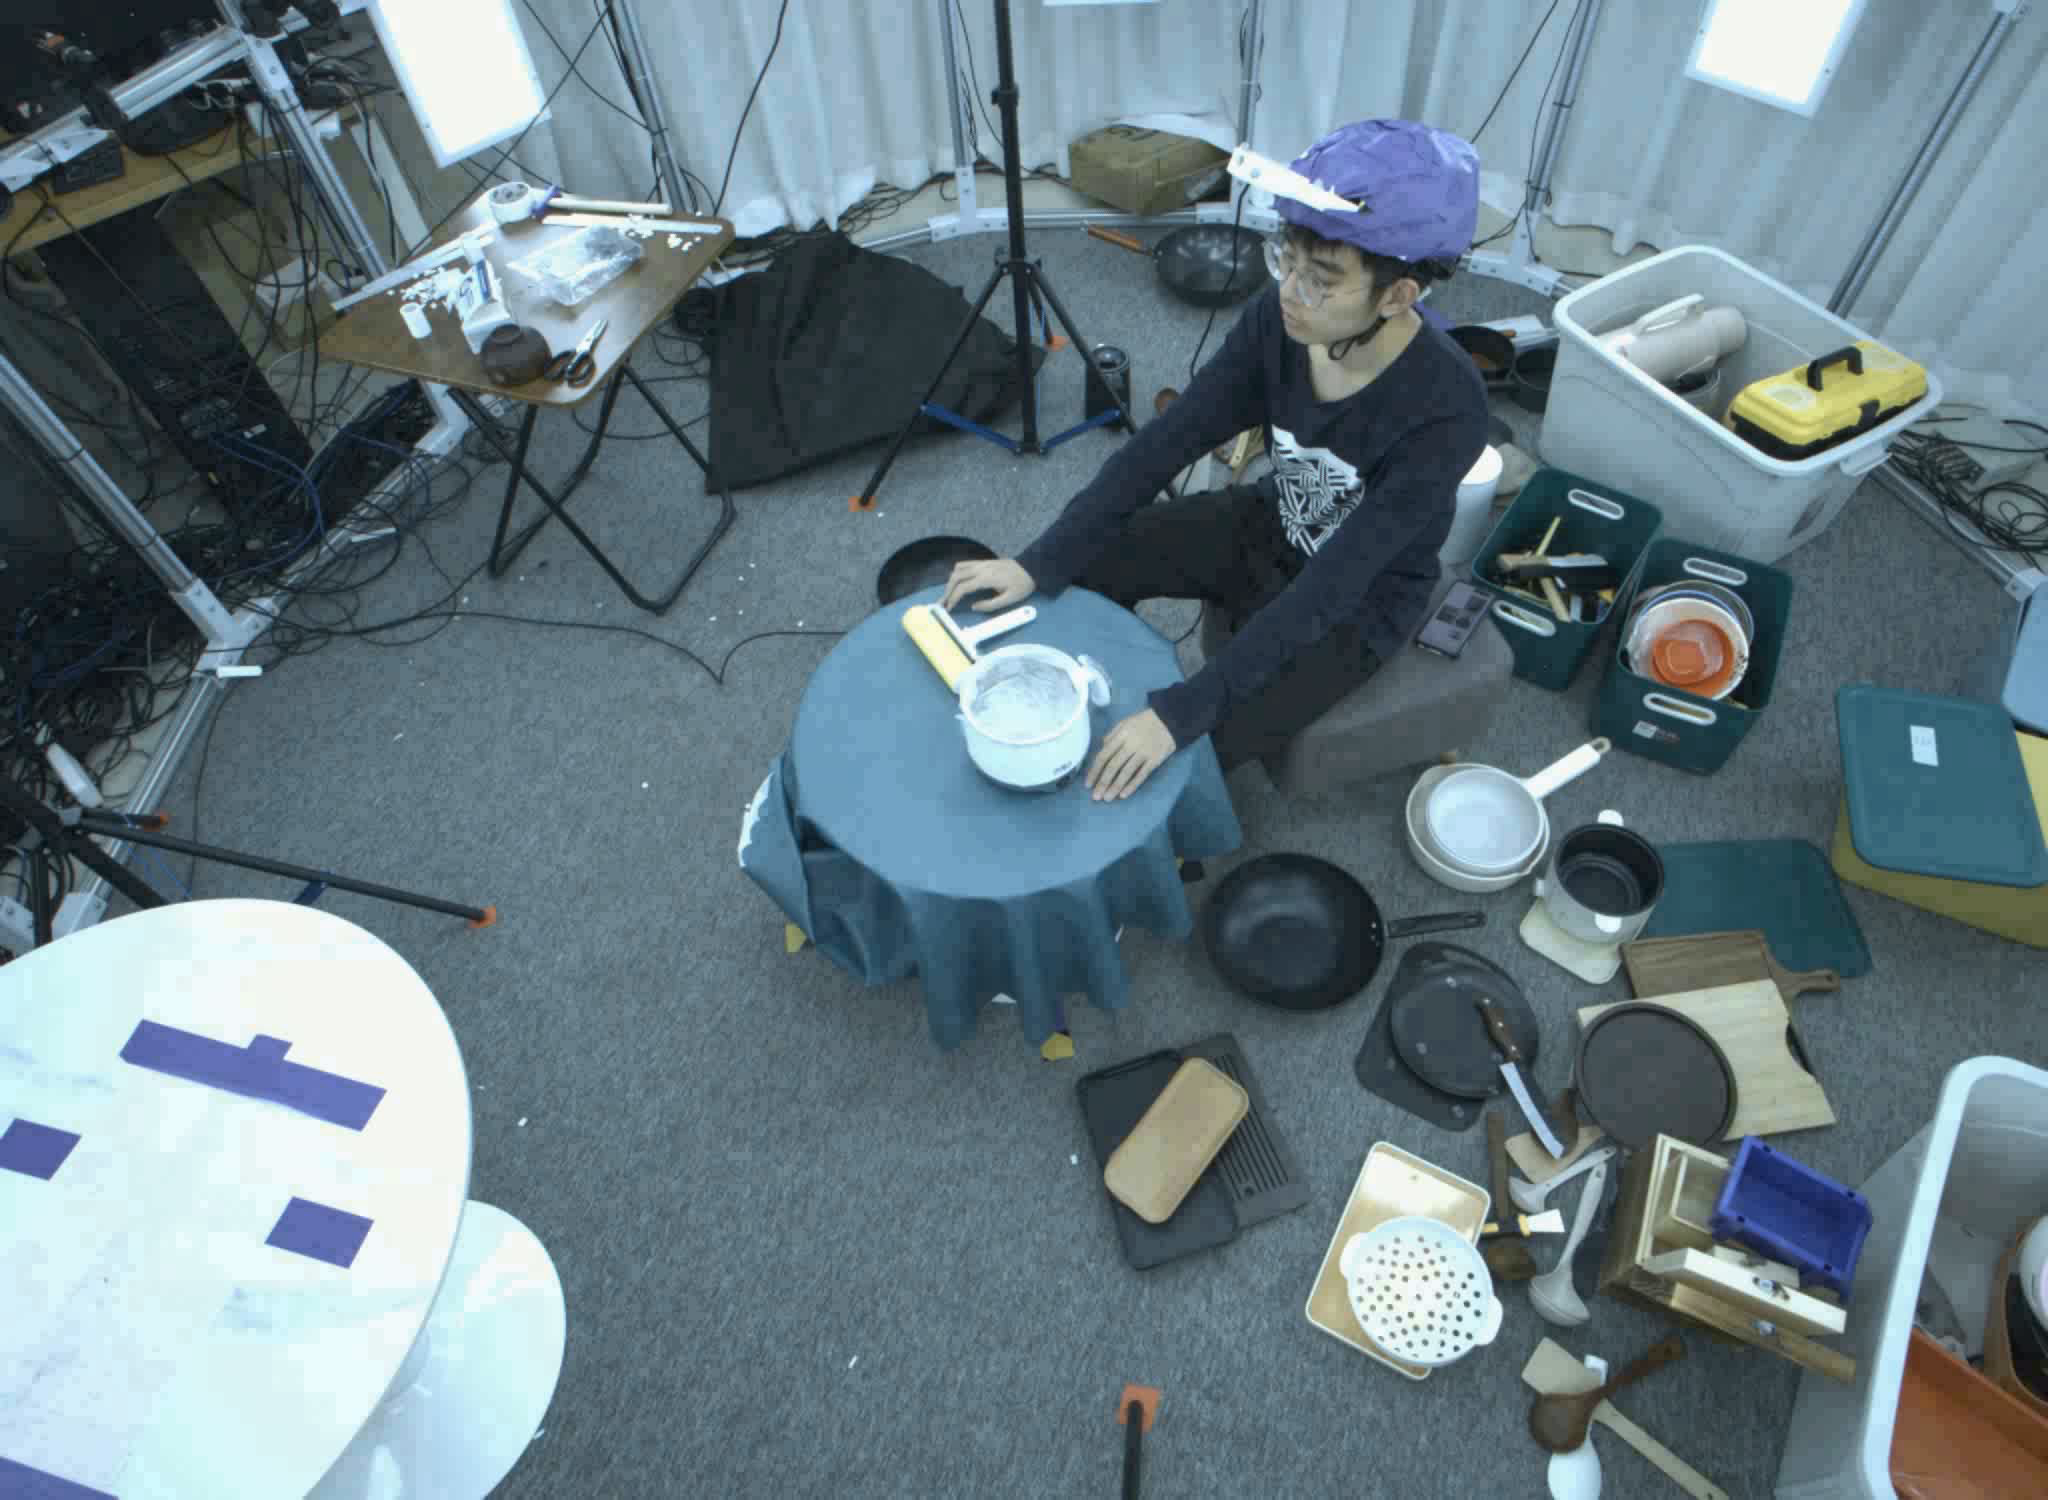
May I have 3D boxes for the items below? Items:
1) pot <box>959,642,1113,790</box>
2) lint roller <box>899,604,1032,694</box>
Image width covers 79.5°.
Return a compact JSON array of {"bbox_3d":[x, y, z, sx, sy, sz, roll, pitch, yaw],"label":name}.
[{"bbox_3d":[0.026,-0.059,1.746,0.235,0.138,0.175,-33,62,-17],"label":"pot"},{"bbox_3d":[-0.072,-0.189,1.902,0.193,0.052,0.171,-30,60,-17],"label":"lint roller"}]
